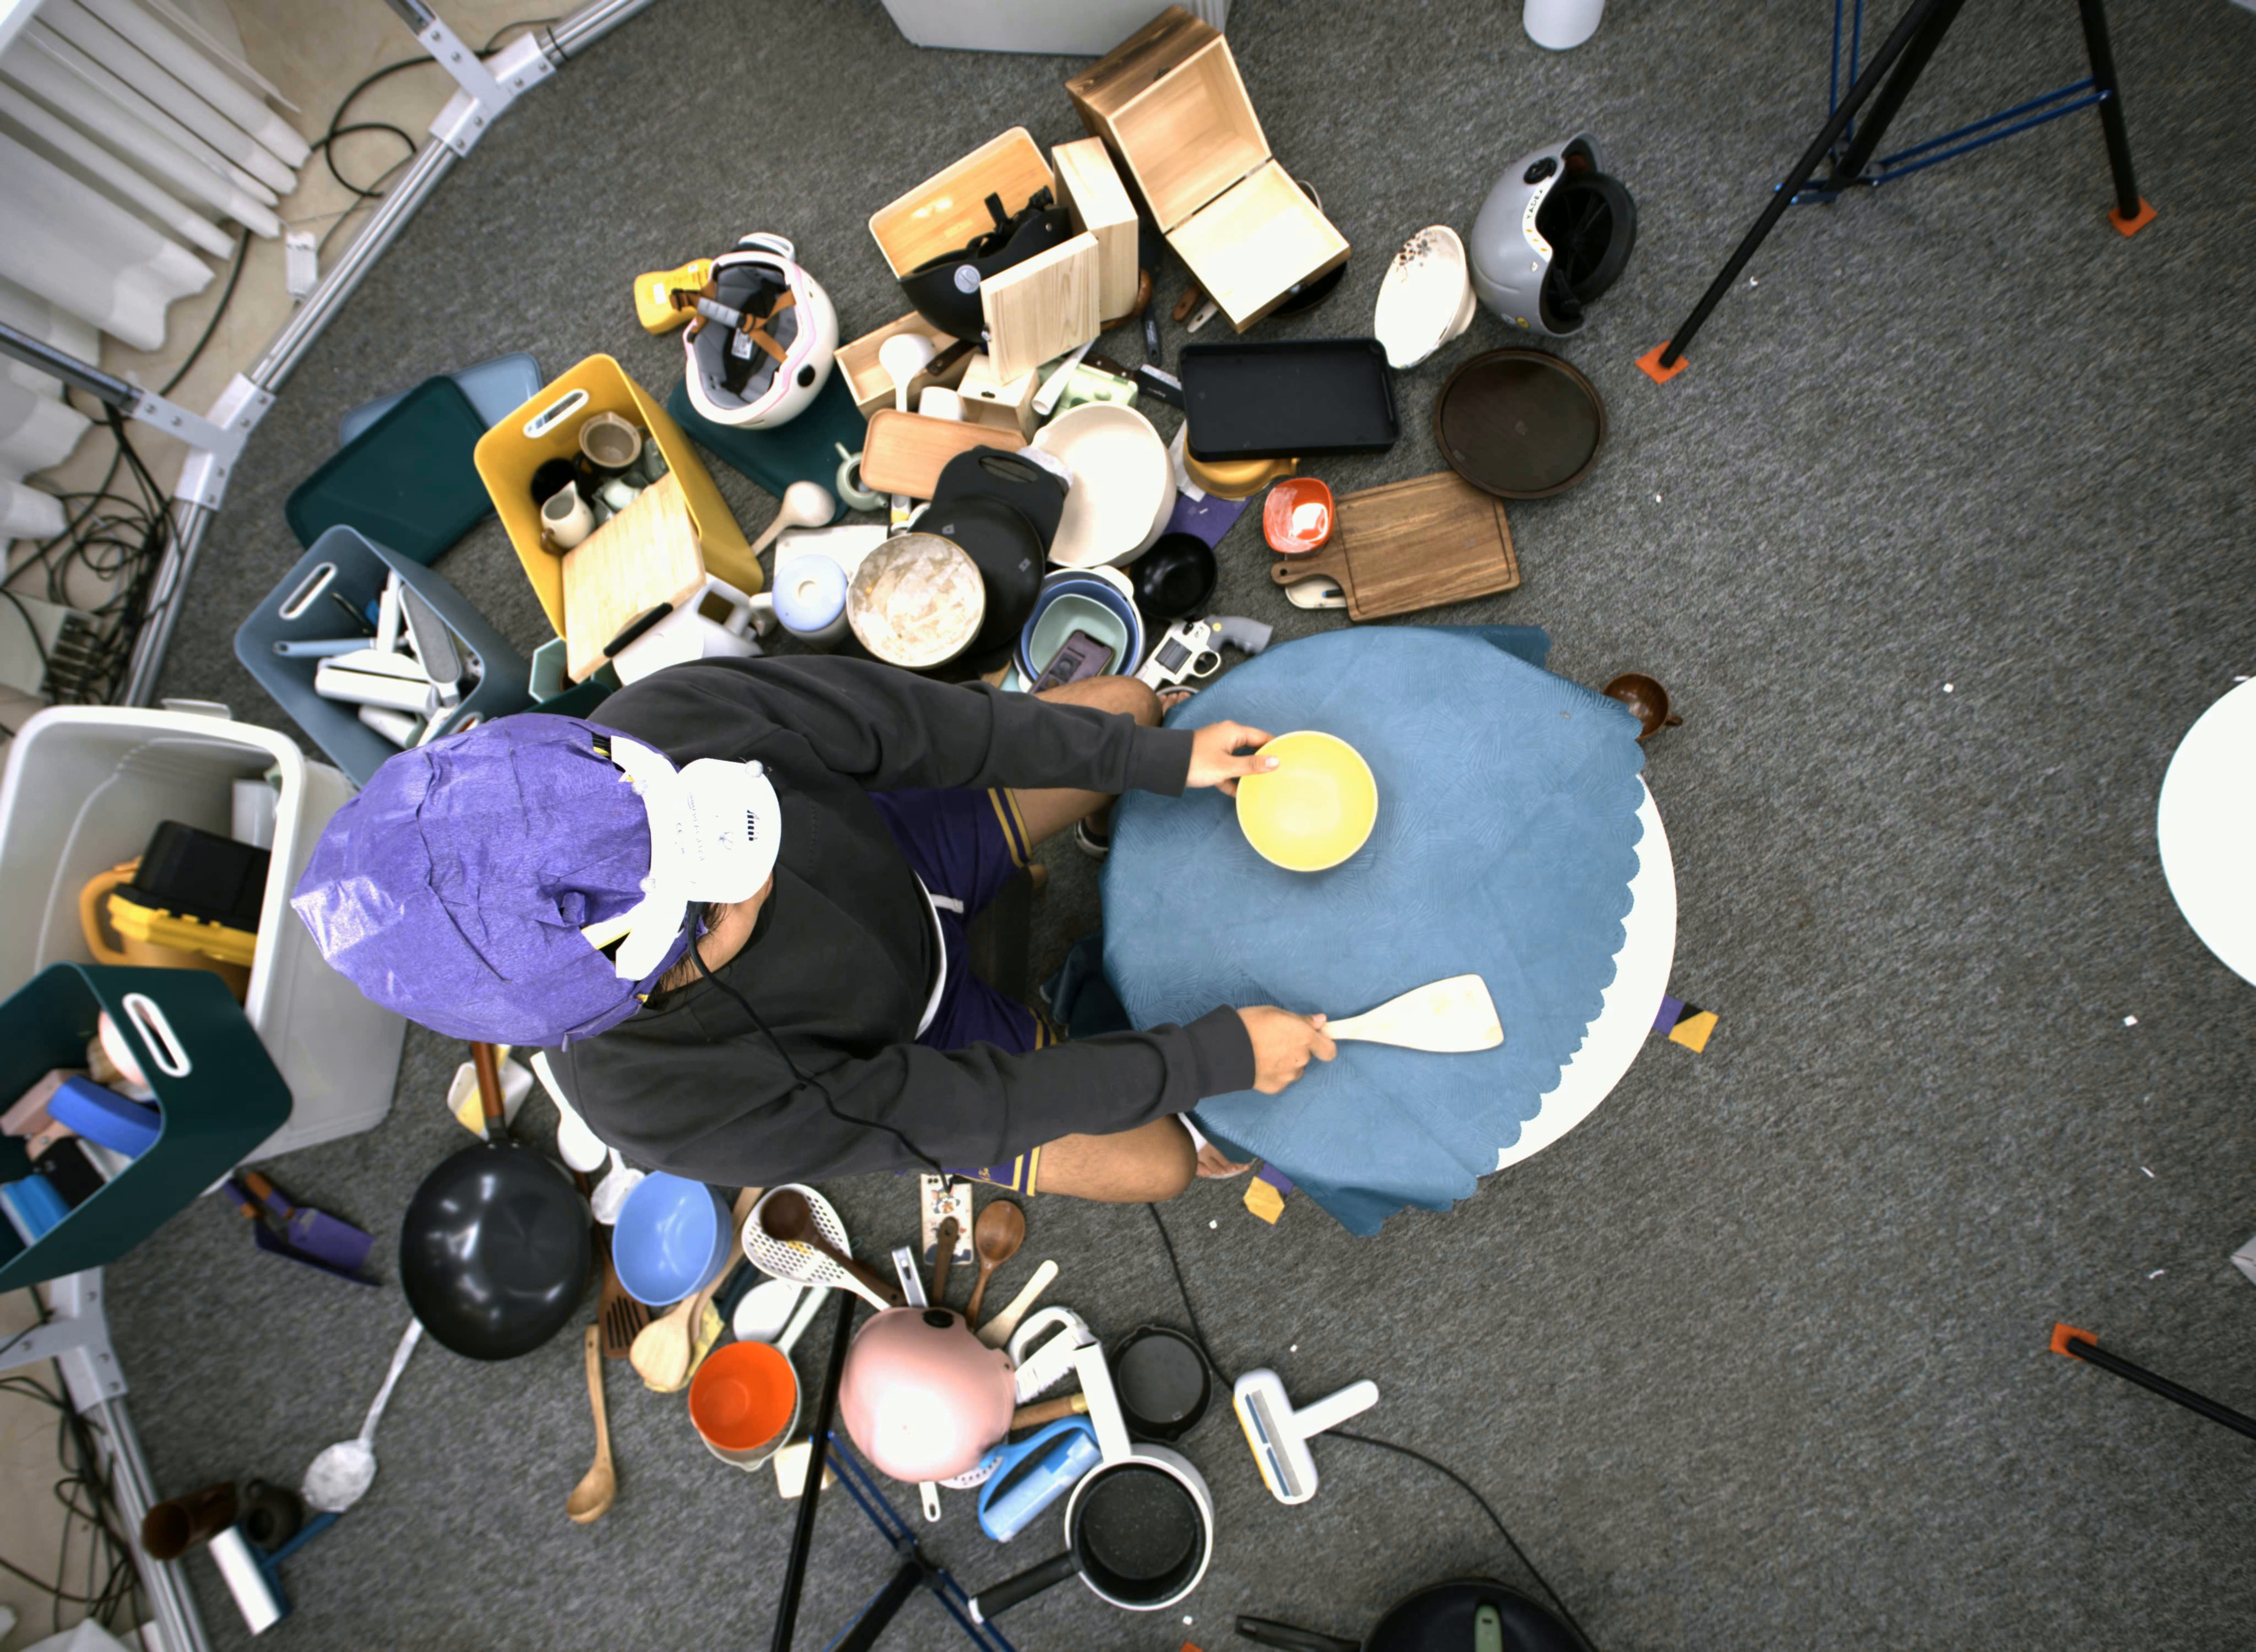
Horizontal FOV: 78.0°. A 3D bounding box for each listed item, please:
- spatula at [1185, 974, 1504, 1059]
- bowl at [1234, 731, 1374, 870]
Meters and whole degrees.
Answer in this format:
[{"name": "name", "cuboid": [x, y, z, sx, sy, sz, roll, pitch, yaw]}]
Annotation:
[{"name": "spatula", "cuboid": [0.222, 0.208, 1.435, 0.328, 0.016, 0.079, -7, 82, 0]}, {"name": "bowl", "cuboid": [0.181, -0.024, 1.447, 0.145, 0.060, 0.145, 0, 87, 2]}]
